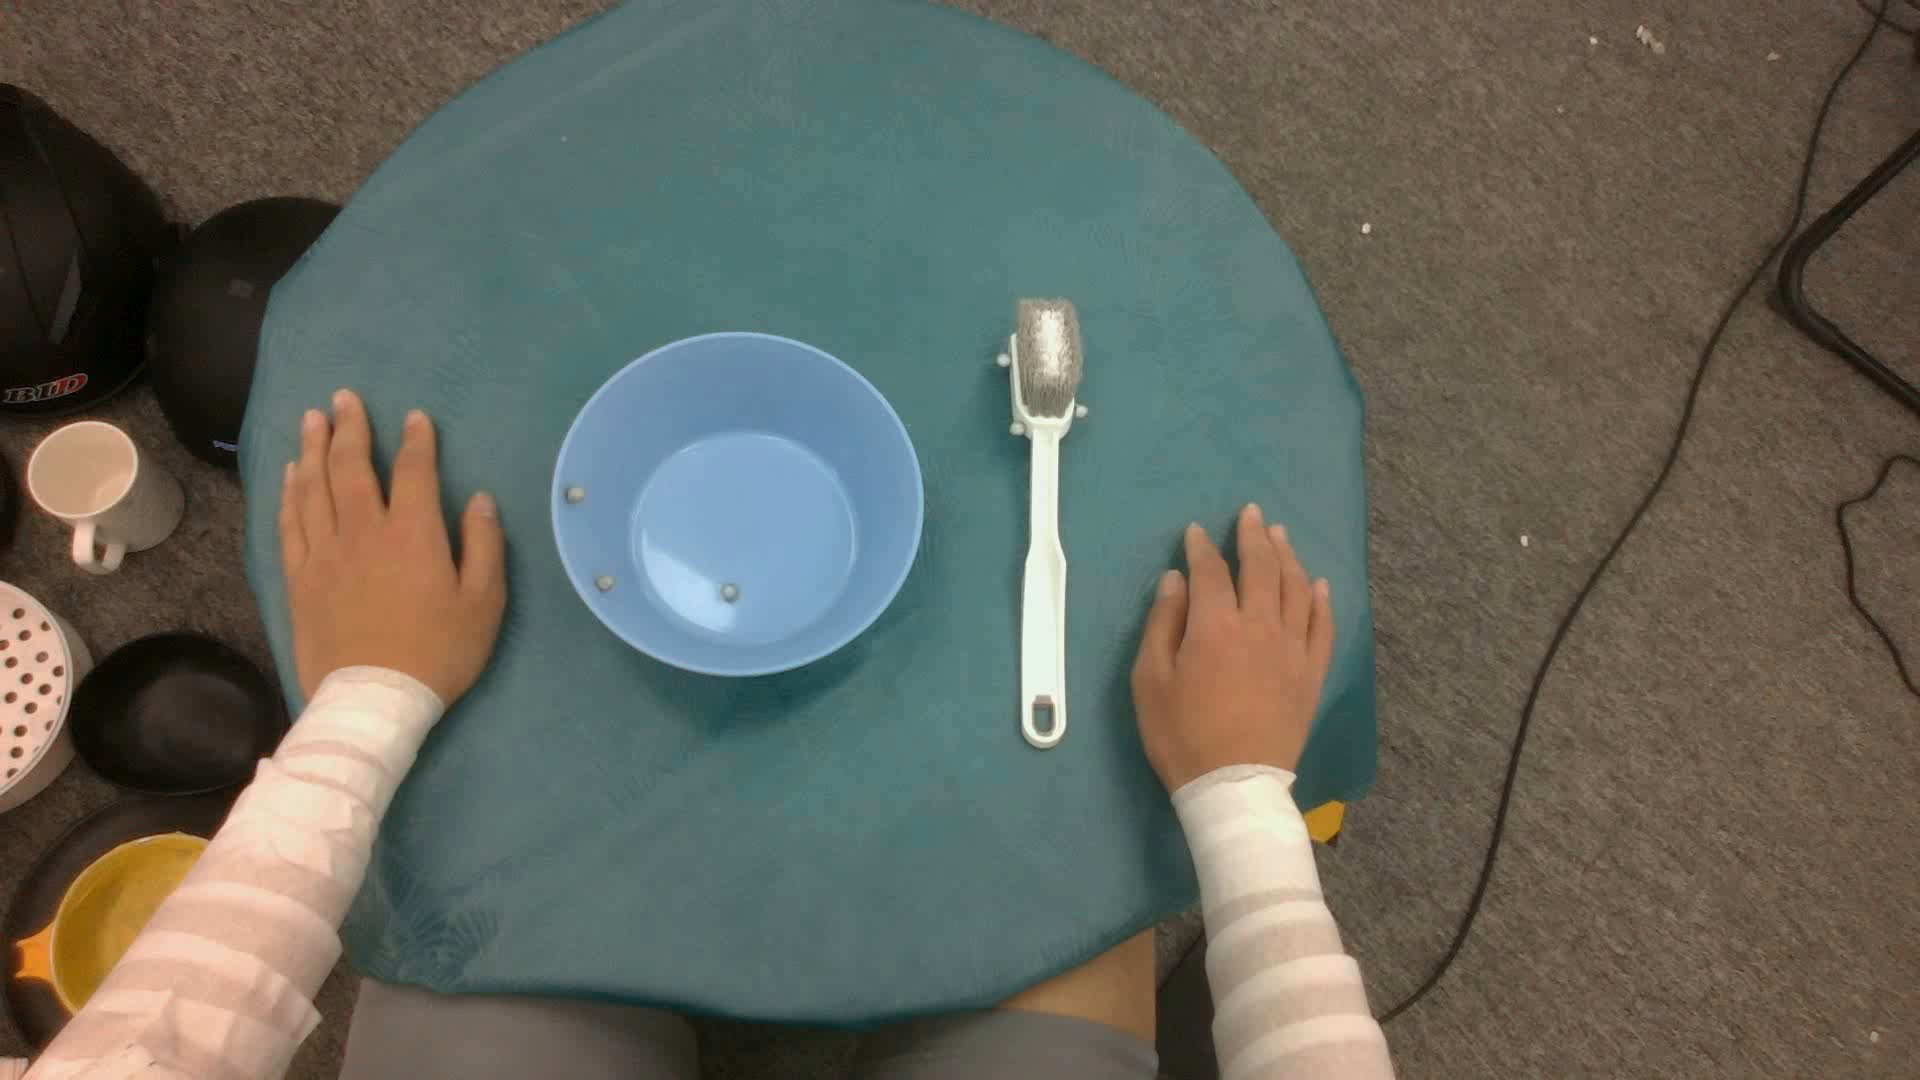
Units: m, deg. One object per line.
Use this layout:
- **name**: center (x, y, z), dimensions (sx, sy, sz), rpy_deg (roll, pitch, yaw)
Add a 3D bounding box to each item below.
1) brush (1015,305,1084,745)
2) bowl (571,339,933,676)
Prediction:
- **brush**: center (0.048, -0.015, 0.736), dimensions (0.034, 0.050, 0.244), rpy_deg (3, 70, -5)
- **bowl**: center (-0.104, -0.010, 0.704), dimensions (0.176, 0.070, 0.176), rpy_deg (2, 71, -6)
